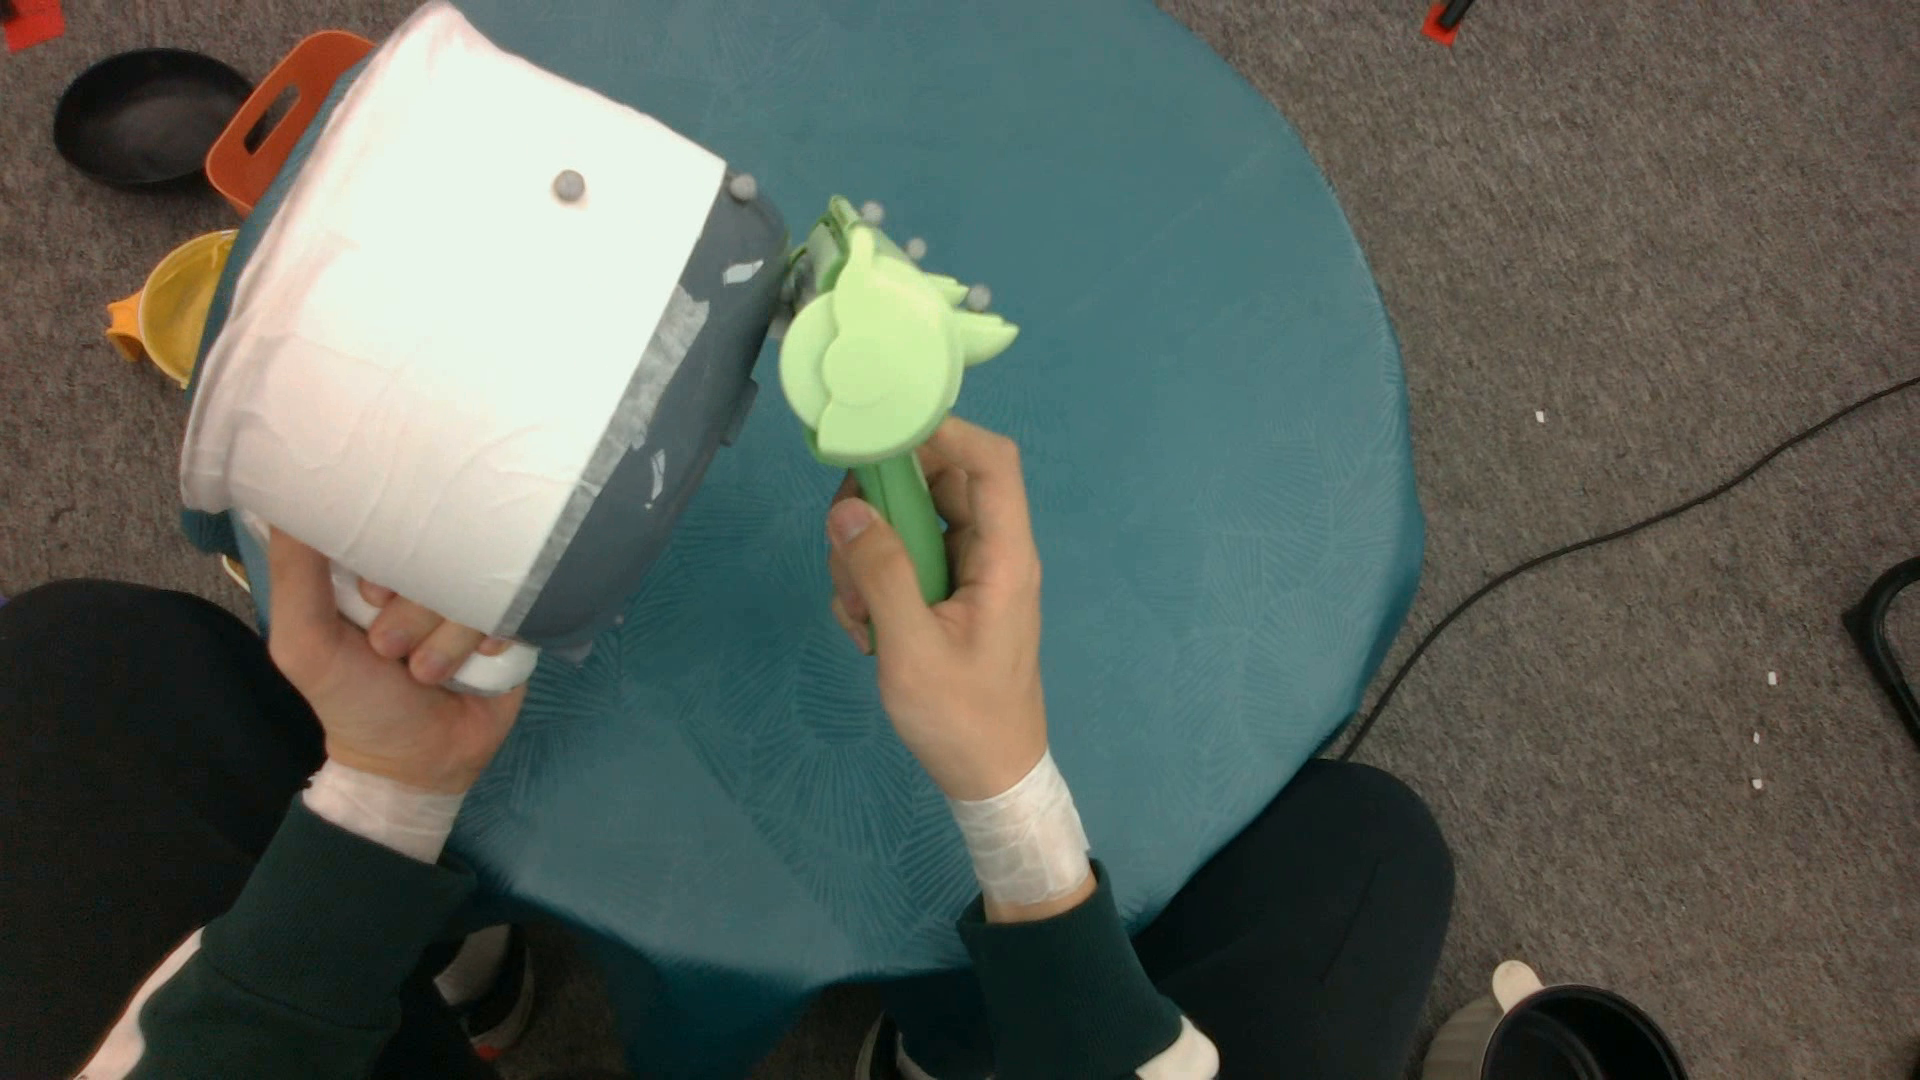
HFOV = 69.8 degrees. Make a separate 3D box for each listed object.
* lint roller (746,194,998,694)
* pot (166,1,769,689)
[{"bbox_3d":[-0.019,-0.034,0.502,0.082,0.199,0.183,-23,109,-2],"label":"lint roller"},{"bbox_3d":[-0.169,-0.045,0.473,0.136,0.232,0.179,26,31,-19],"label":"pot"}]
